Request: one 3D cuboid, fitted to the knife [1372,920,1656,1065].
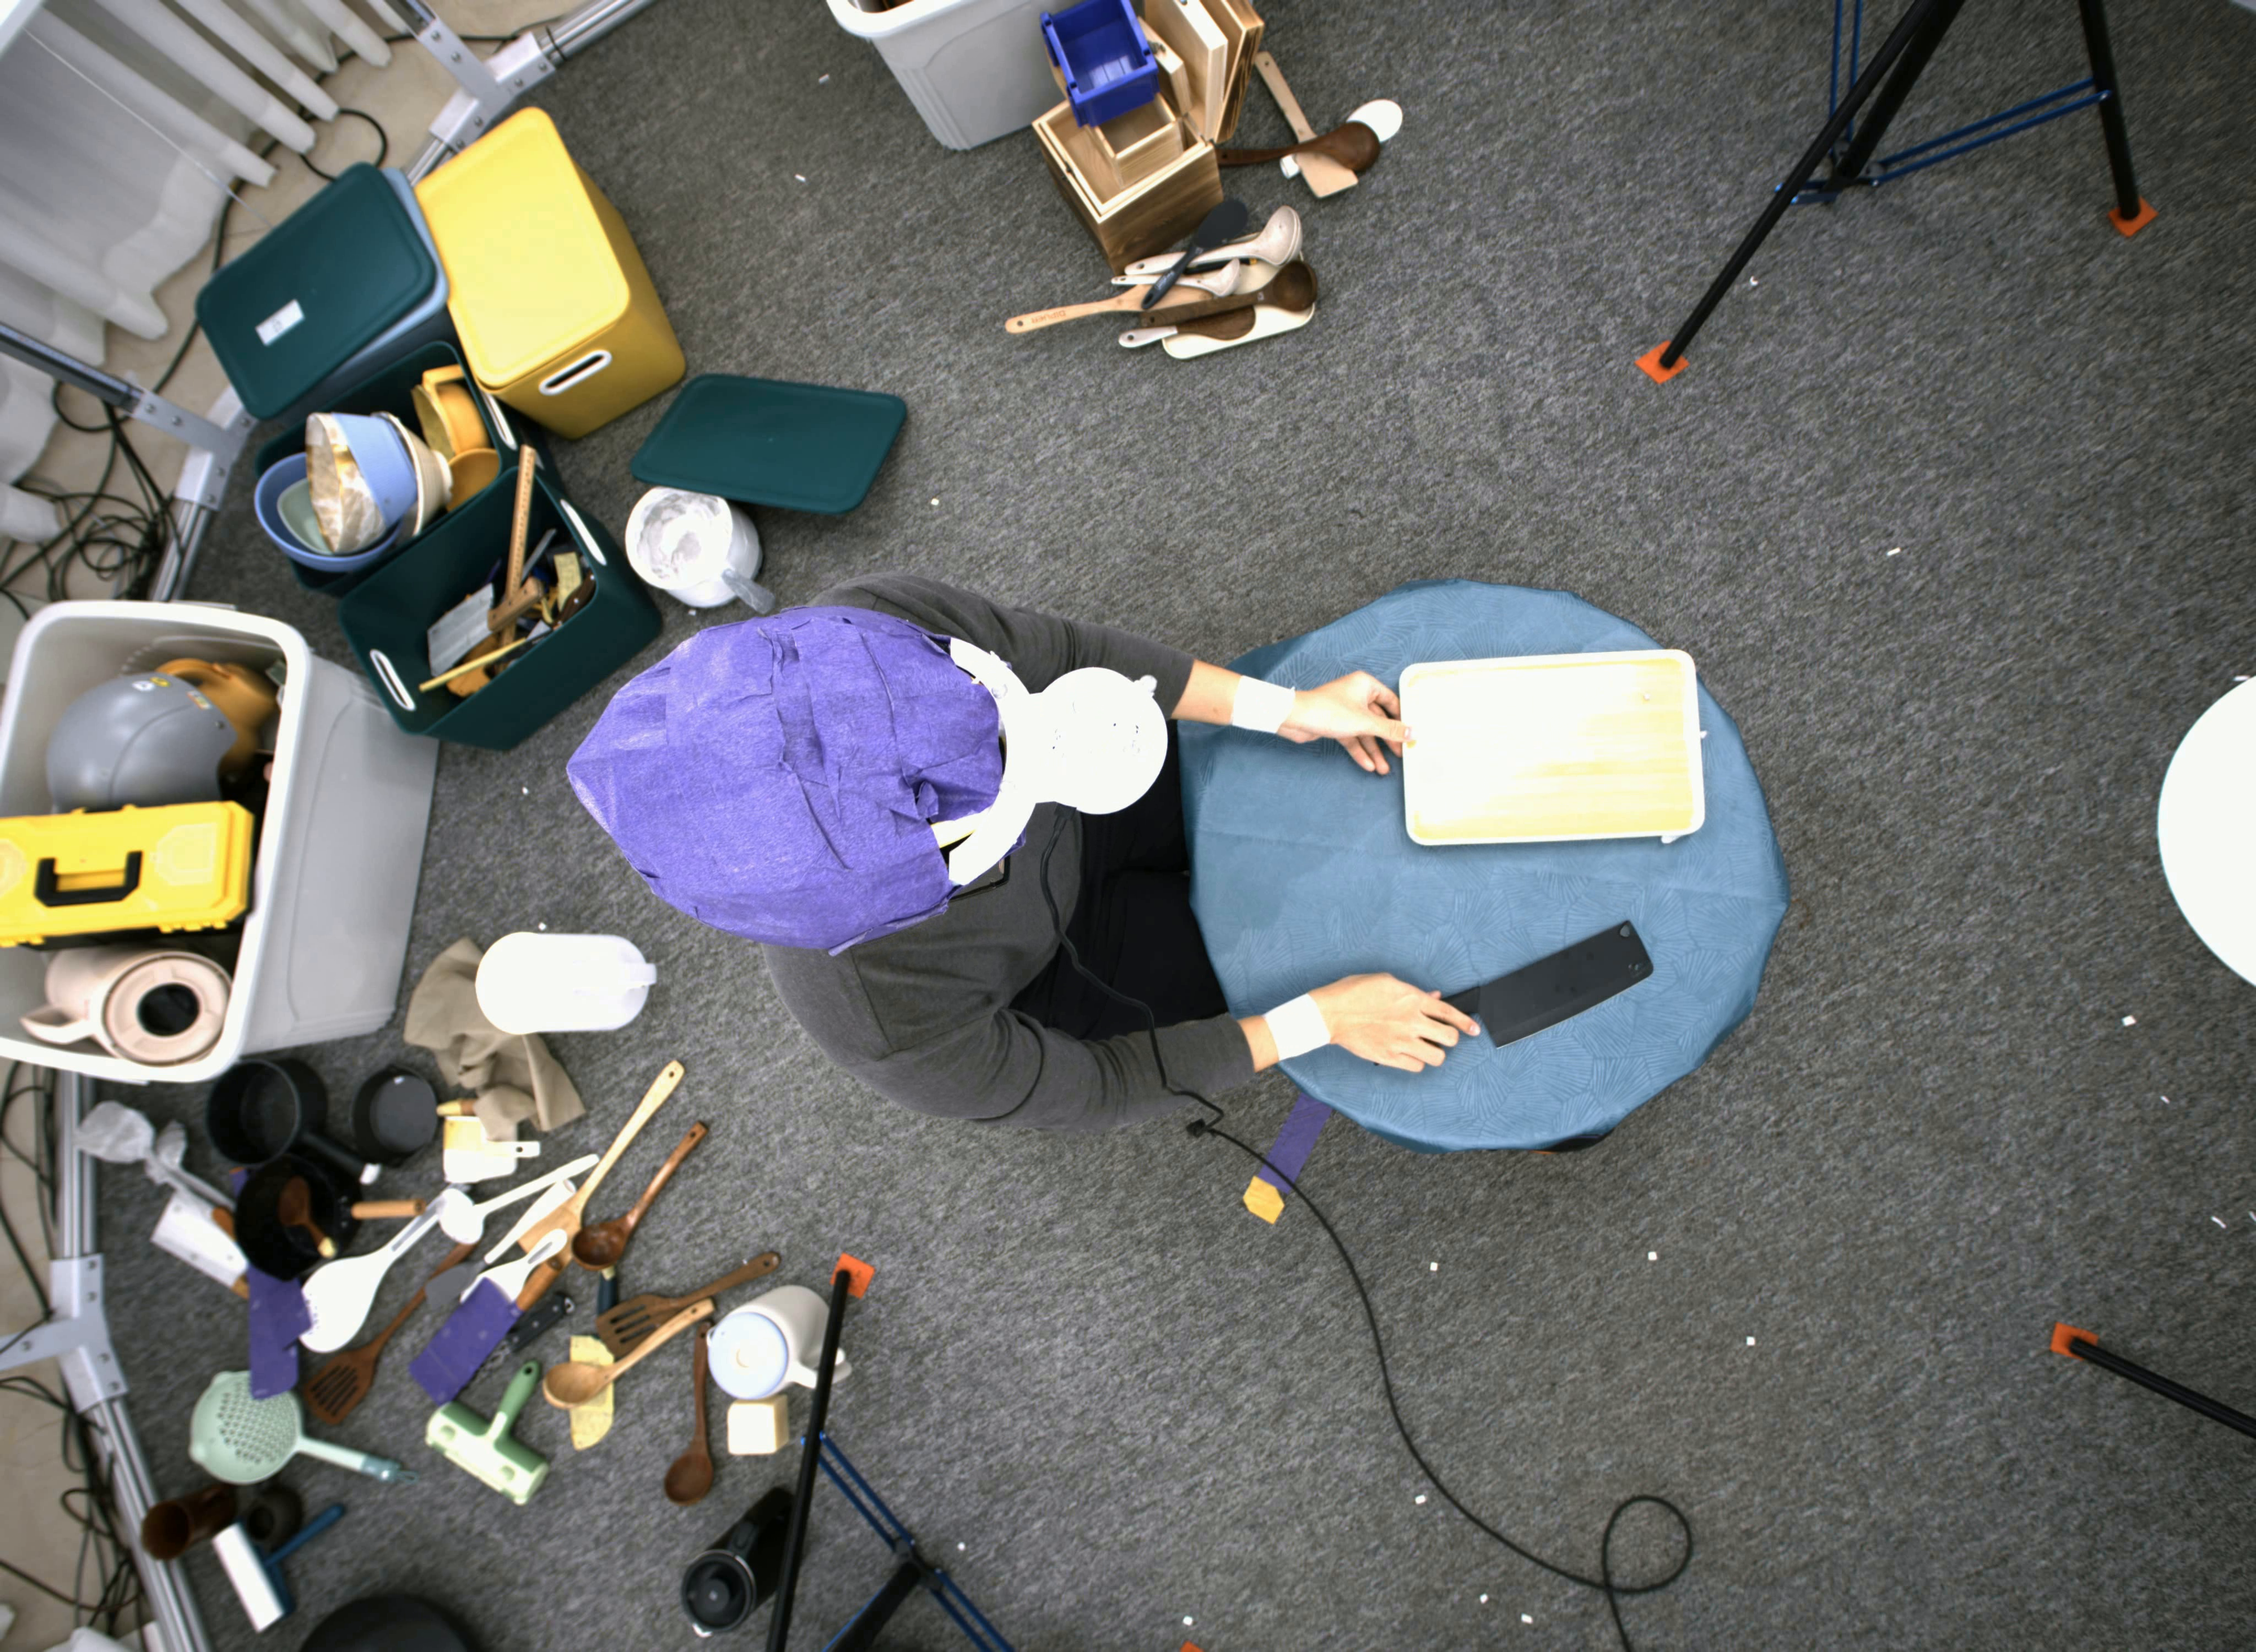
[{"bbox_3d":[0.394,0.181,1.424,0.304,0.021,0.080,-21,87,7],"label":"knife"}]

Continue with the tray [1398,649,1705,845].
[{"bbox_3d":[0.435,-0.083,1.416,0.301,0.027,0.191,-3,88,9],"label":"tray"}]
